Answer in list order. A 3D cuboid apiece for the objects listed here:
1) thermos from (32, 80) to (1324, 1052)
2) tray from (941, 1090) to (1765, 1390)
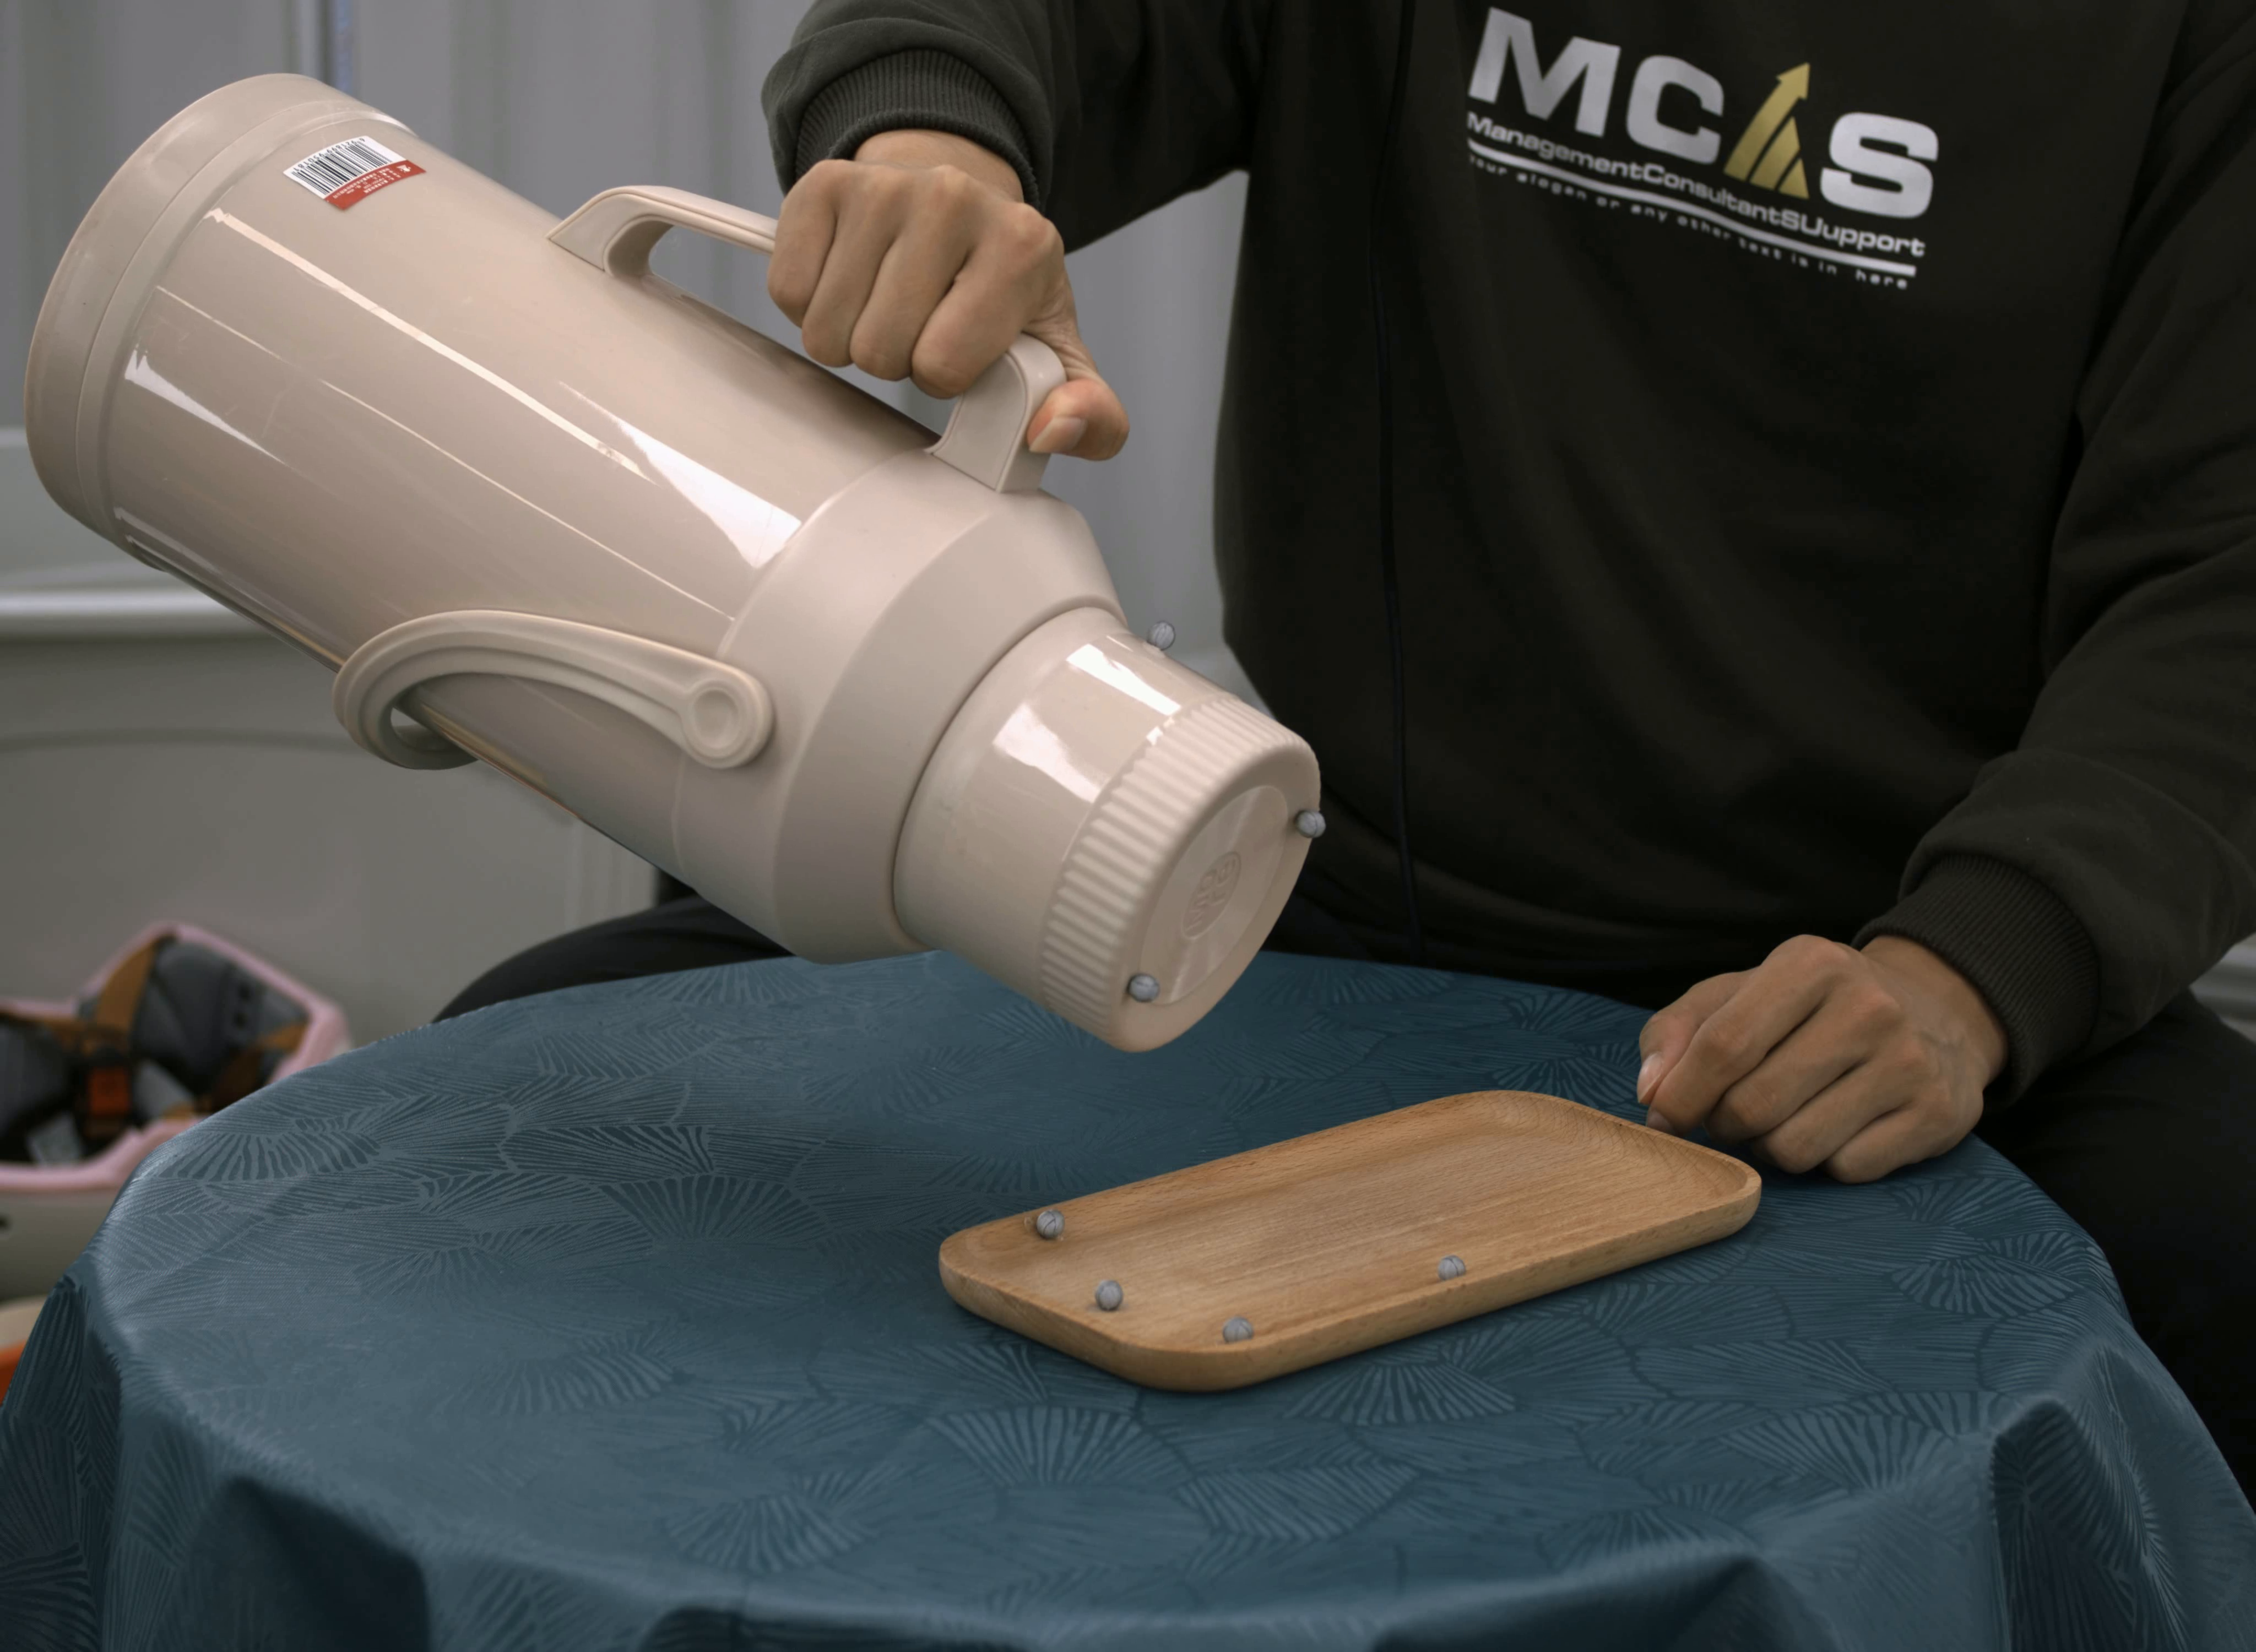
[{"bbox_3d":[-0.127,-0.085,1.583,0.402,0.208,0.176,31,20,23],"label":"thermos"},{"bbox_3d":[0.070,0.121,1.573,0.252,0.023,0.129,-11,22,-39],"label":"tray"}]
